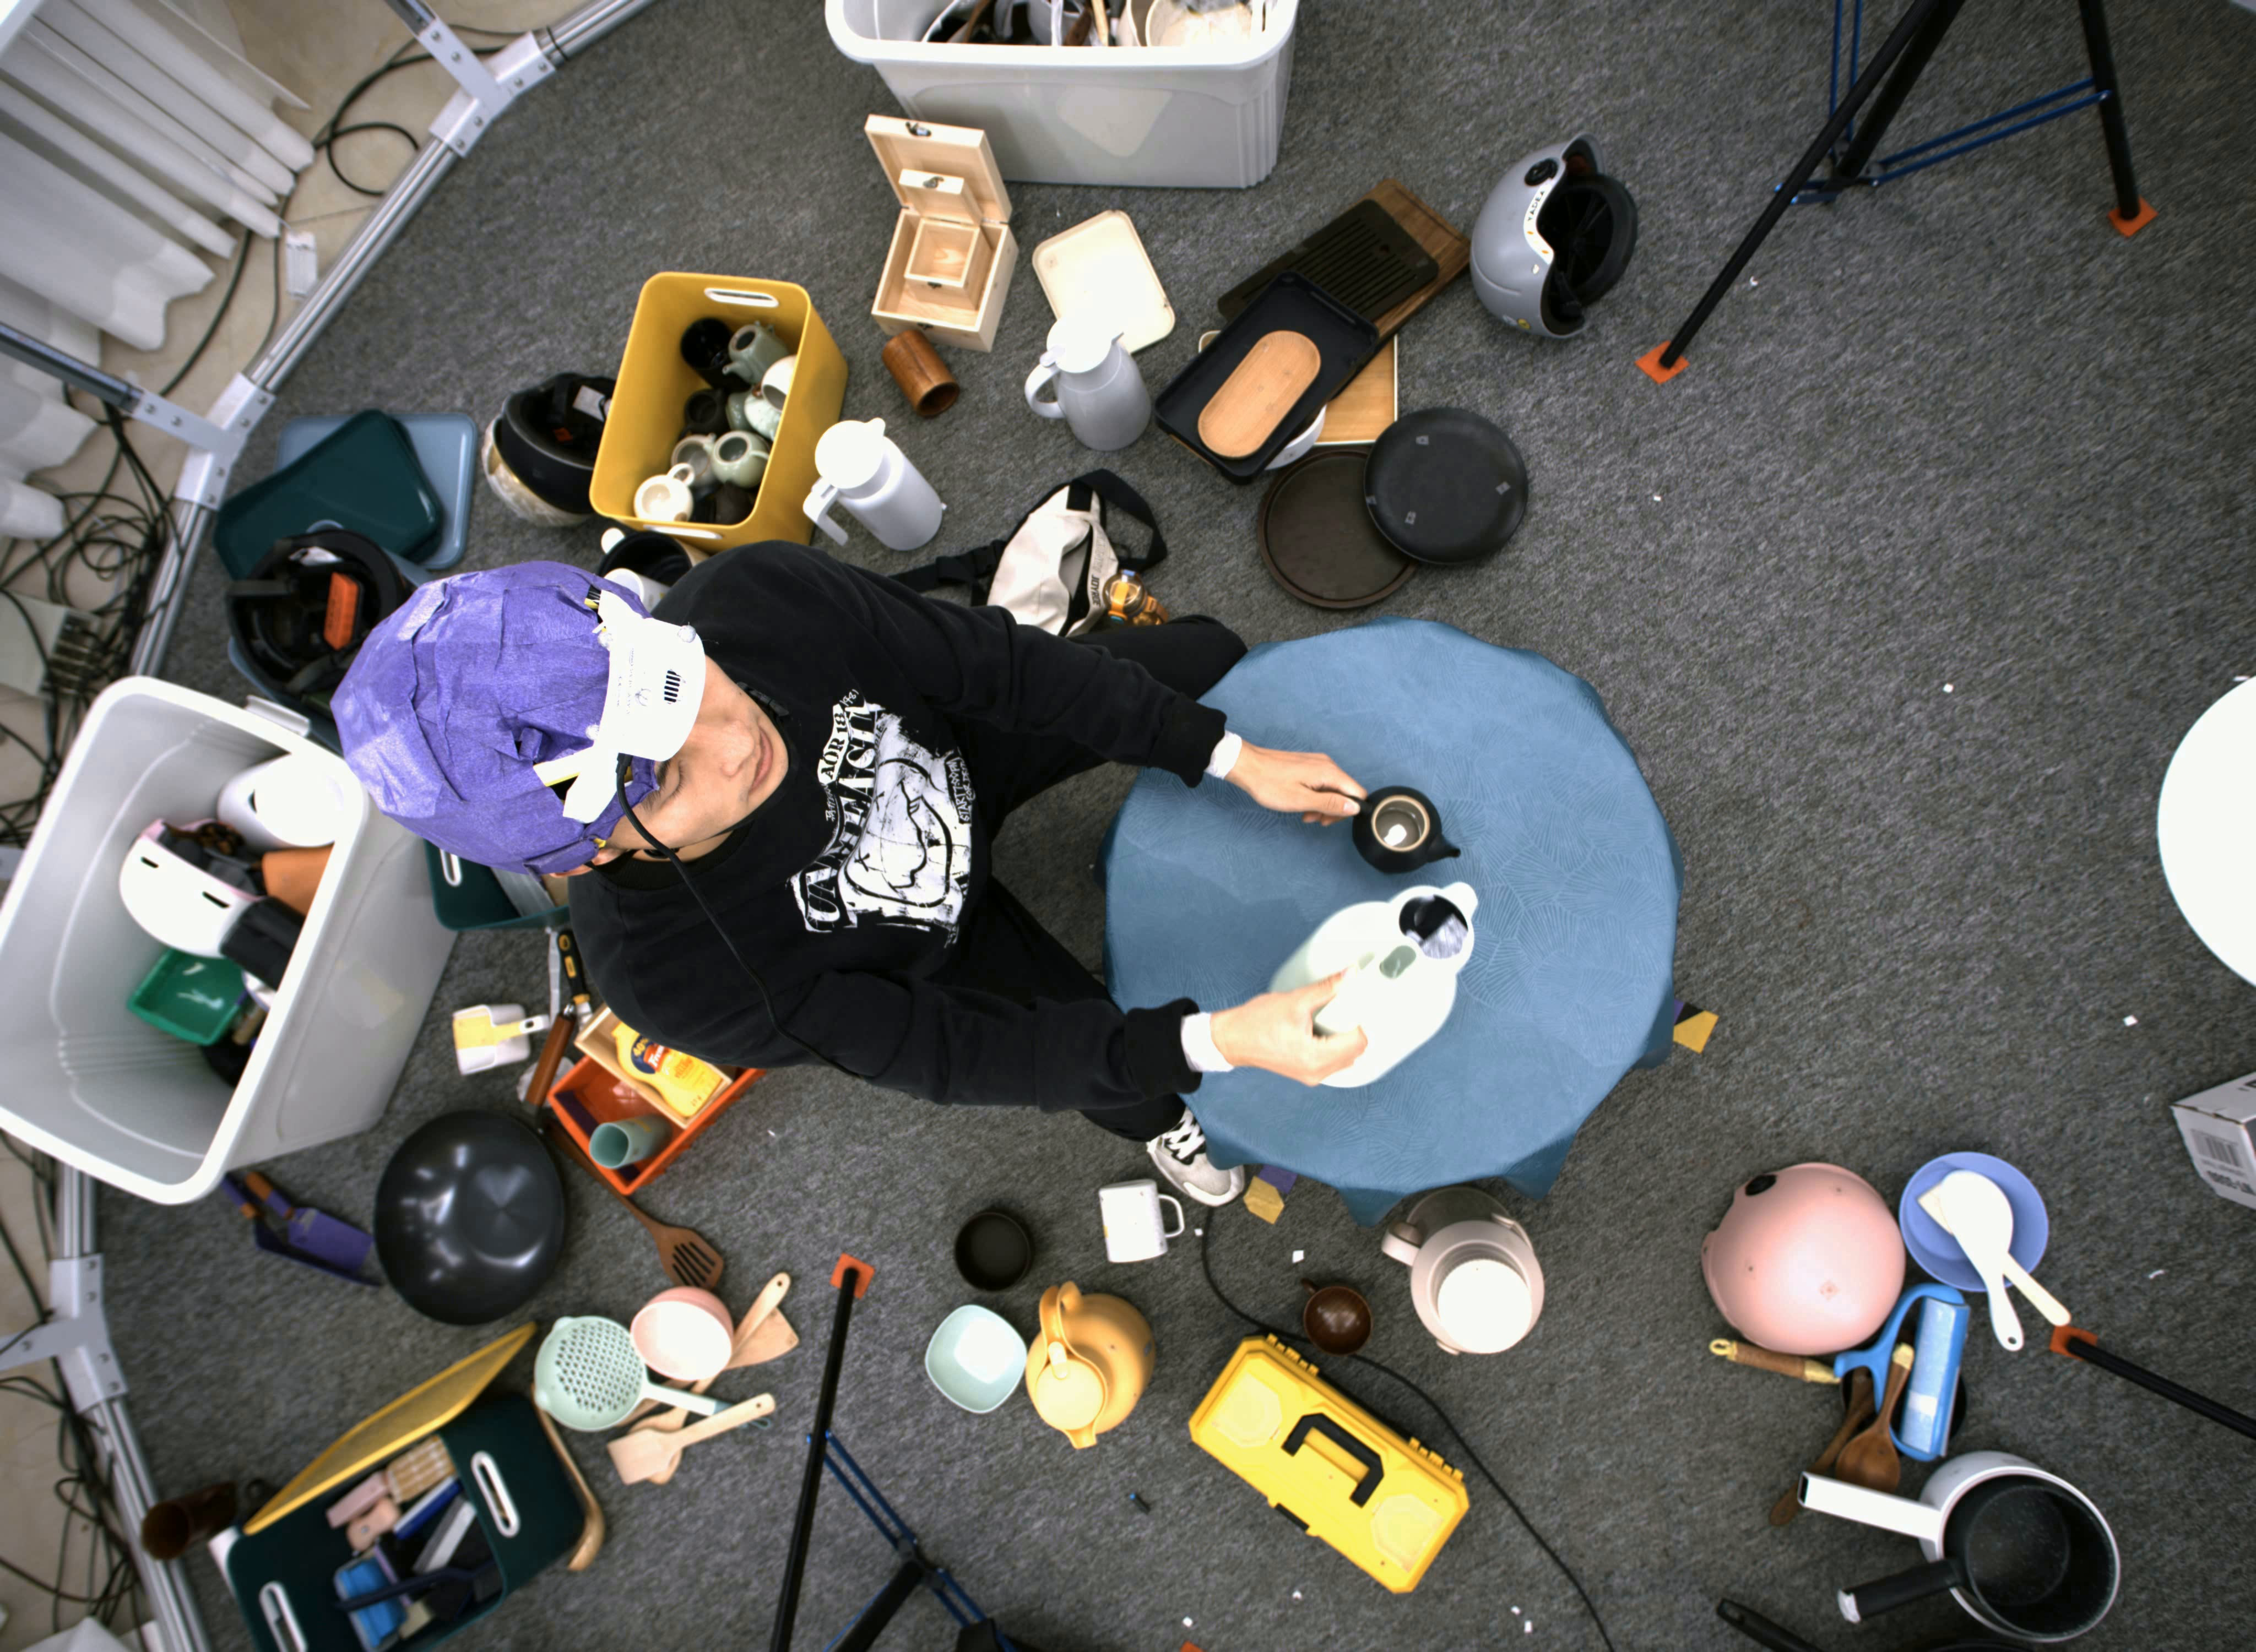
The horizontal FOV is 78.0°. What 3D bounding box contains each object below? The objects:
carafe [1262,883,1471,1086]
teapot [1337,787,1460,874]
[{"bbox_3d":[0.217,0.147,1.270,0.184,0.262,0.143,-40,80,-24],"label":"carafe"},{"bbox_3d":[0.273,0.002,1.400,0.133,0.053,0.090,27,82,7],"label":"teapot"}]
